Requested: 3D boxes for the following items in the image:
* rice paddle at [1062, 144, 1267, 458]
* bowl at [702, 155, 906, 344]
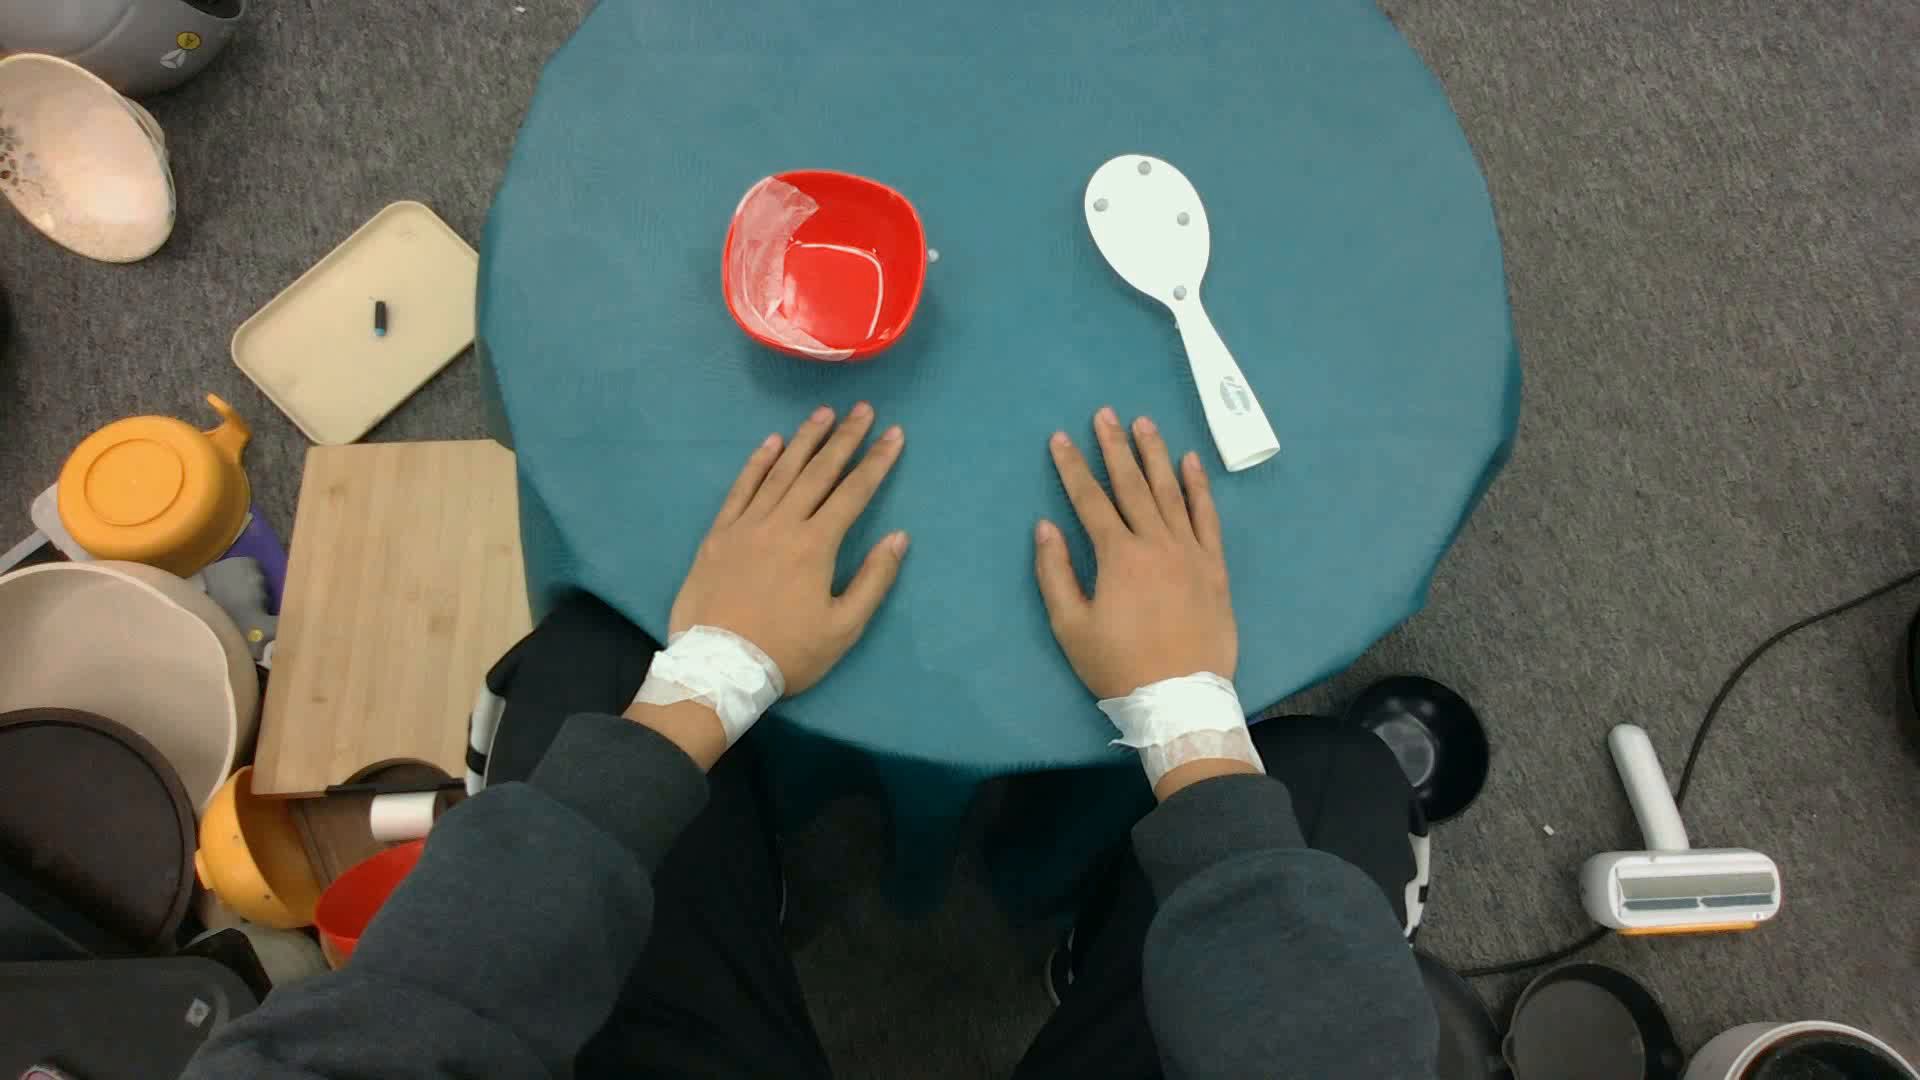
[{"bbox_3d":[0.119,-0.144,0.794,0.069,0.029,0.205,-20,76,-11],"label":"rice paddle"},{"bbox_3d":[-0.086,-0.154,0.770,0.119,0.051,0.119,1,73,-4],"label":"bowl"}]
